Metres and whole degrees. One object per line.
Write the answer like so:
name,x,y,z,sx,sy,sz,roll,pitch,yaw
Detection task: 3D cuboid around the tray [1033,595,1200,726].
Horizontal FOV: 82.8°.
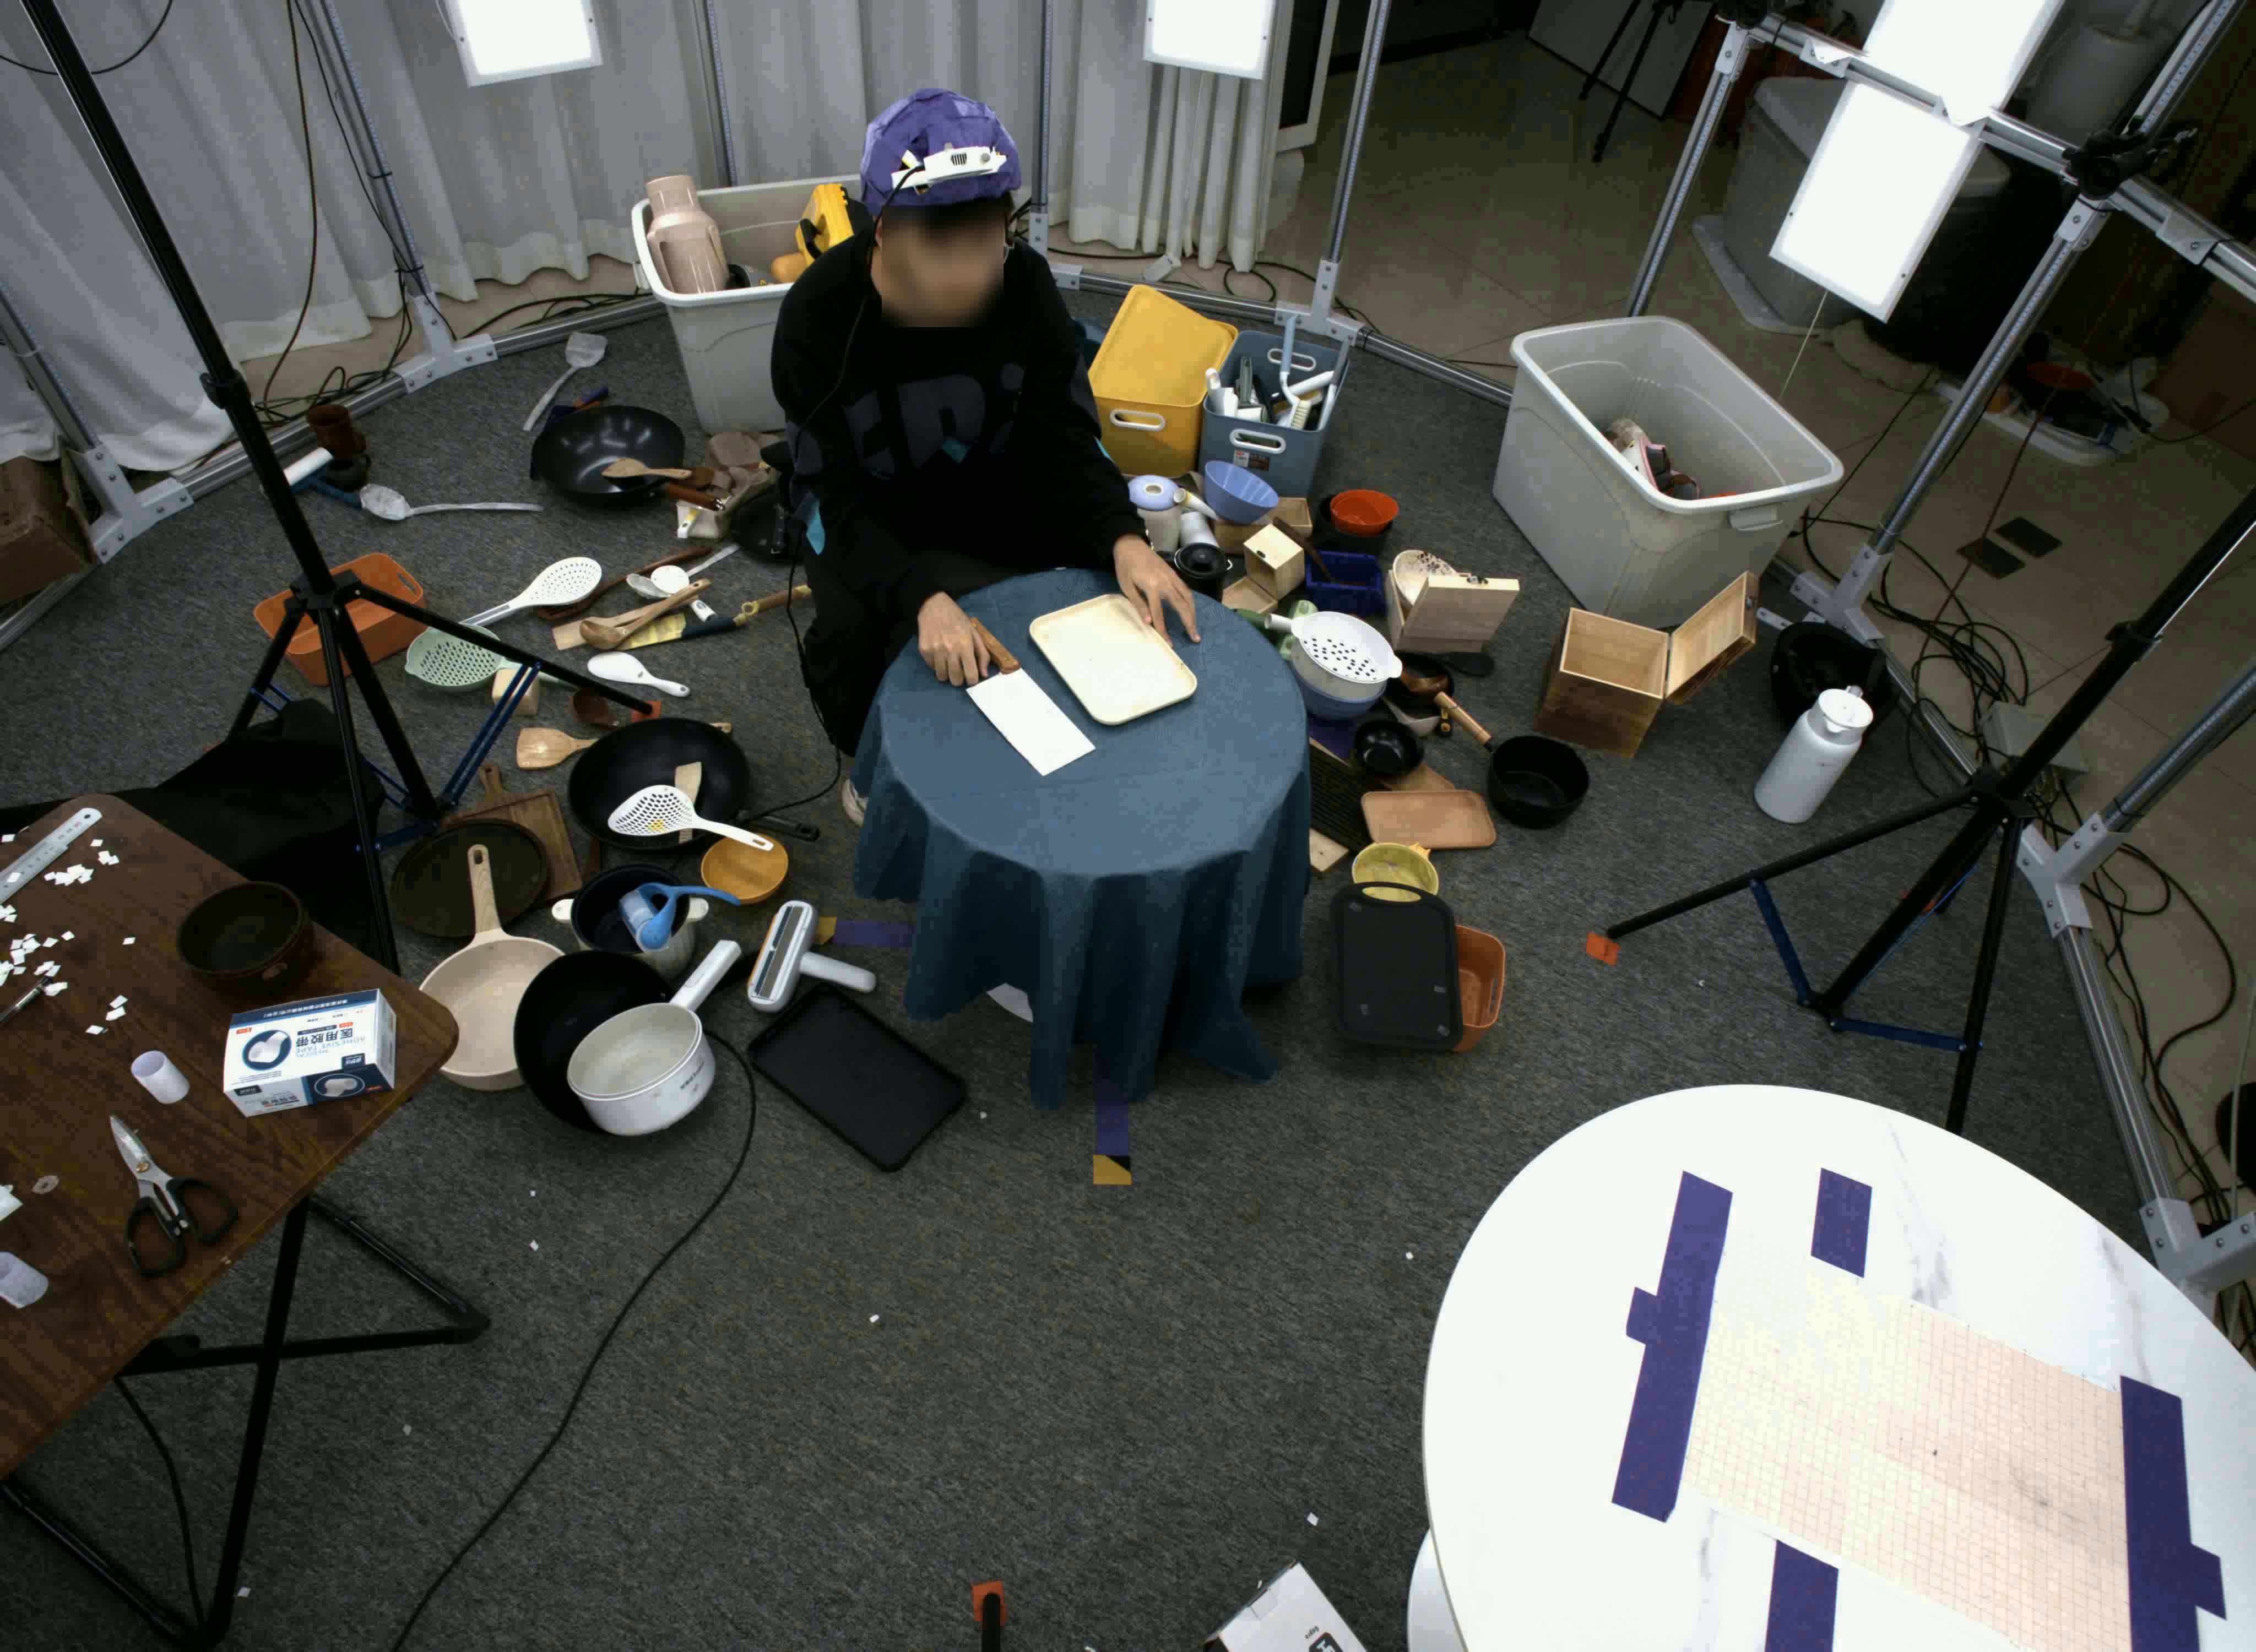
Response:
tray,-0.019,-0.242,1.865,0.172,0.017,0.245,-22,54,-20

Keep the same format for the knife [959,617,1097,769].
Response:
knife,-0.165,-0.188,1.810,0.093,0.020,0.311,-28,59,-24
